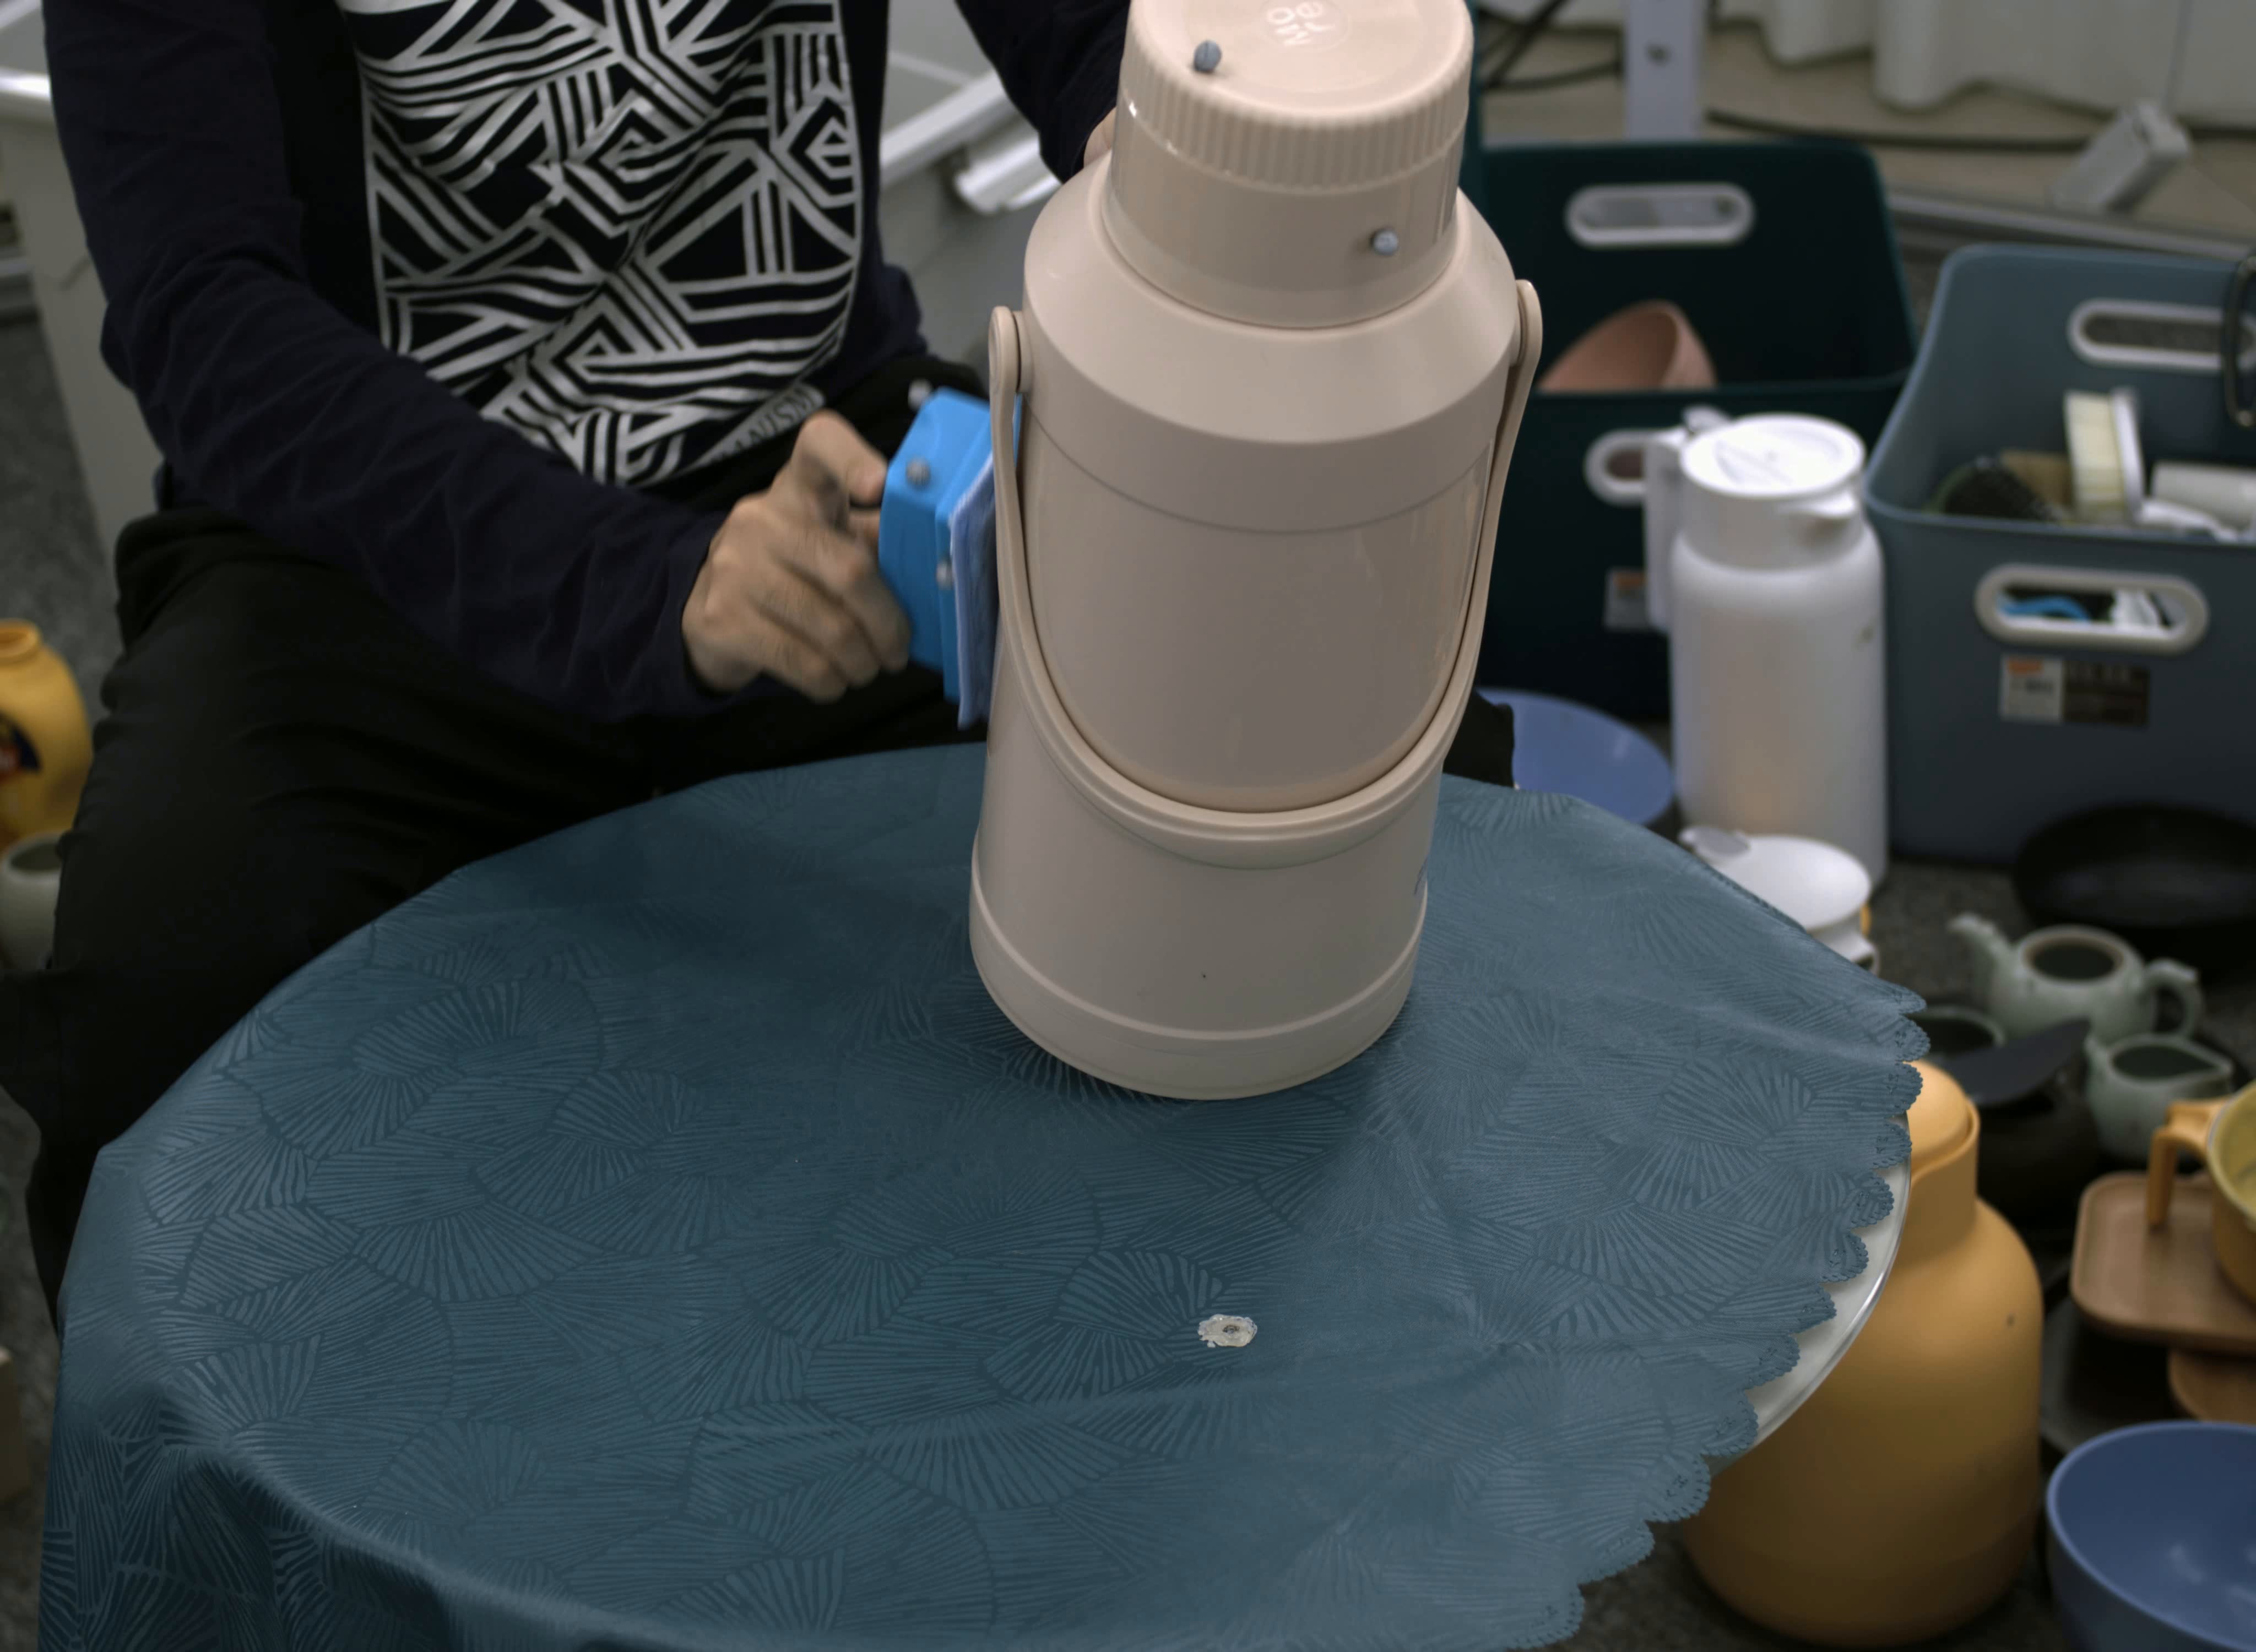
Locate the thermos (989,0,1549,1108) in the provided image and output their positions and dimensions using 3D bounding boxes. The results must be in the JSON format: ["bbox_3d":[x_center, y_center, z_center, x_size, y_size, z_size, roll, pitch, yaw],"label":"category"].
[{"bbox_3d":[0.040,-0.112,1.844,0.175,0.400,0.210,-6,43,-10],"label":"thermos"}]

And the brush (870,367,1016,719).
[{"bbox_3d":[-0.059,-0.102,1.907,0.056,0.142,0.085,26,65,12],"label":"brush"}]
